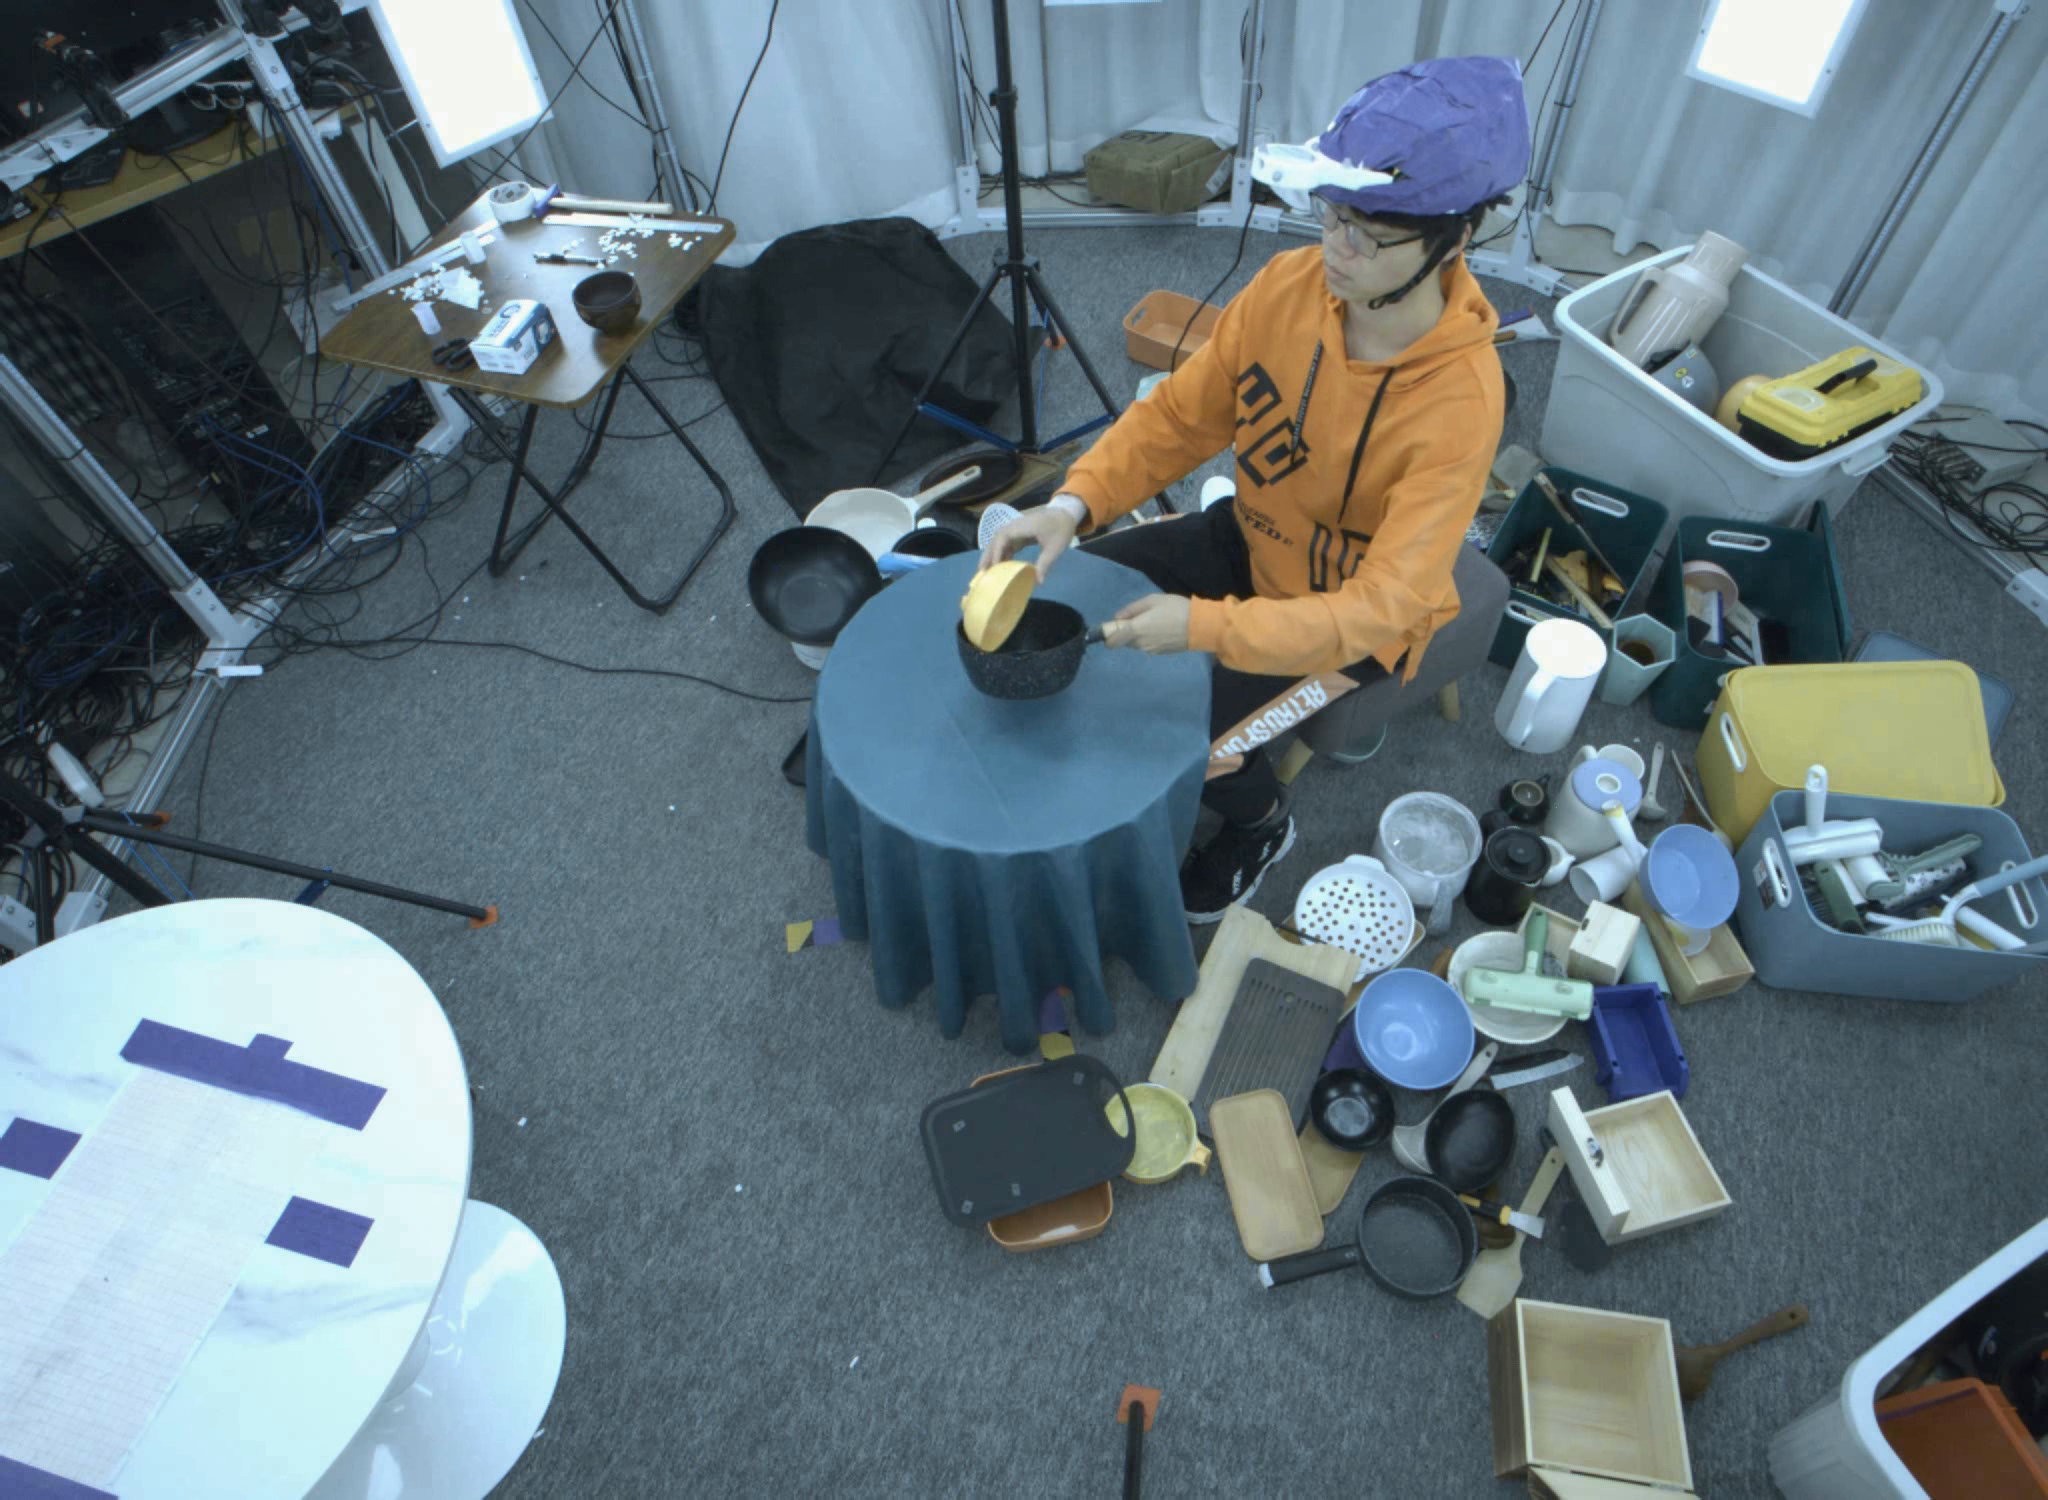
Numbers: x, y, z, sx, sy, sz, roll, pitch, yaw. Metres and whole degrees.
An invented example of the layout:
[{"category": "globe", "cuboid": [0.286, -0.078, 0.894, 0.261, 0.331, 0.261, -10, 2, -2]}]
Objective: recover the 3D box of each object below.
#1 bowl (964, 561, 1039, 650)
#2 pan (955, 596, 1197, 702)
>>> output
[{"category": "bowl", "cuboid": [-0.043, -0.207, 1.720, 0.059, 0.146, 0.146, 29, 61, 15]}, {"category": "pan", "cuboid": [0.075, -0.154, 1.756, 0.343, 0.109, 0.205, -3, 31, 1]}]
